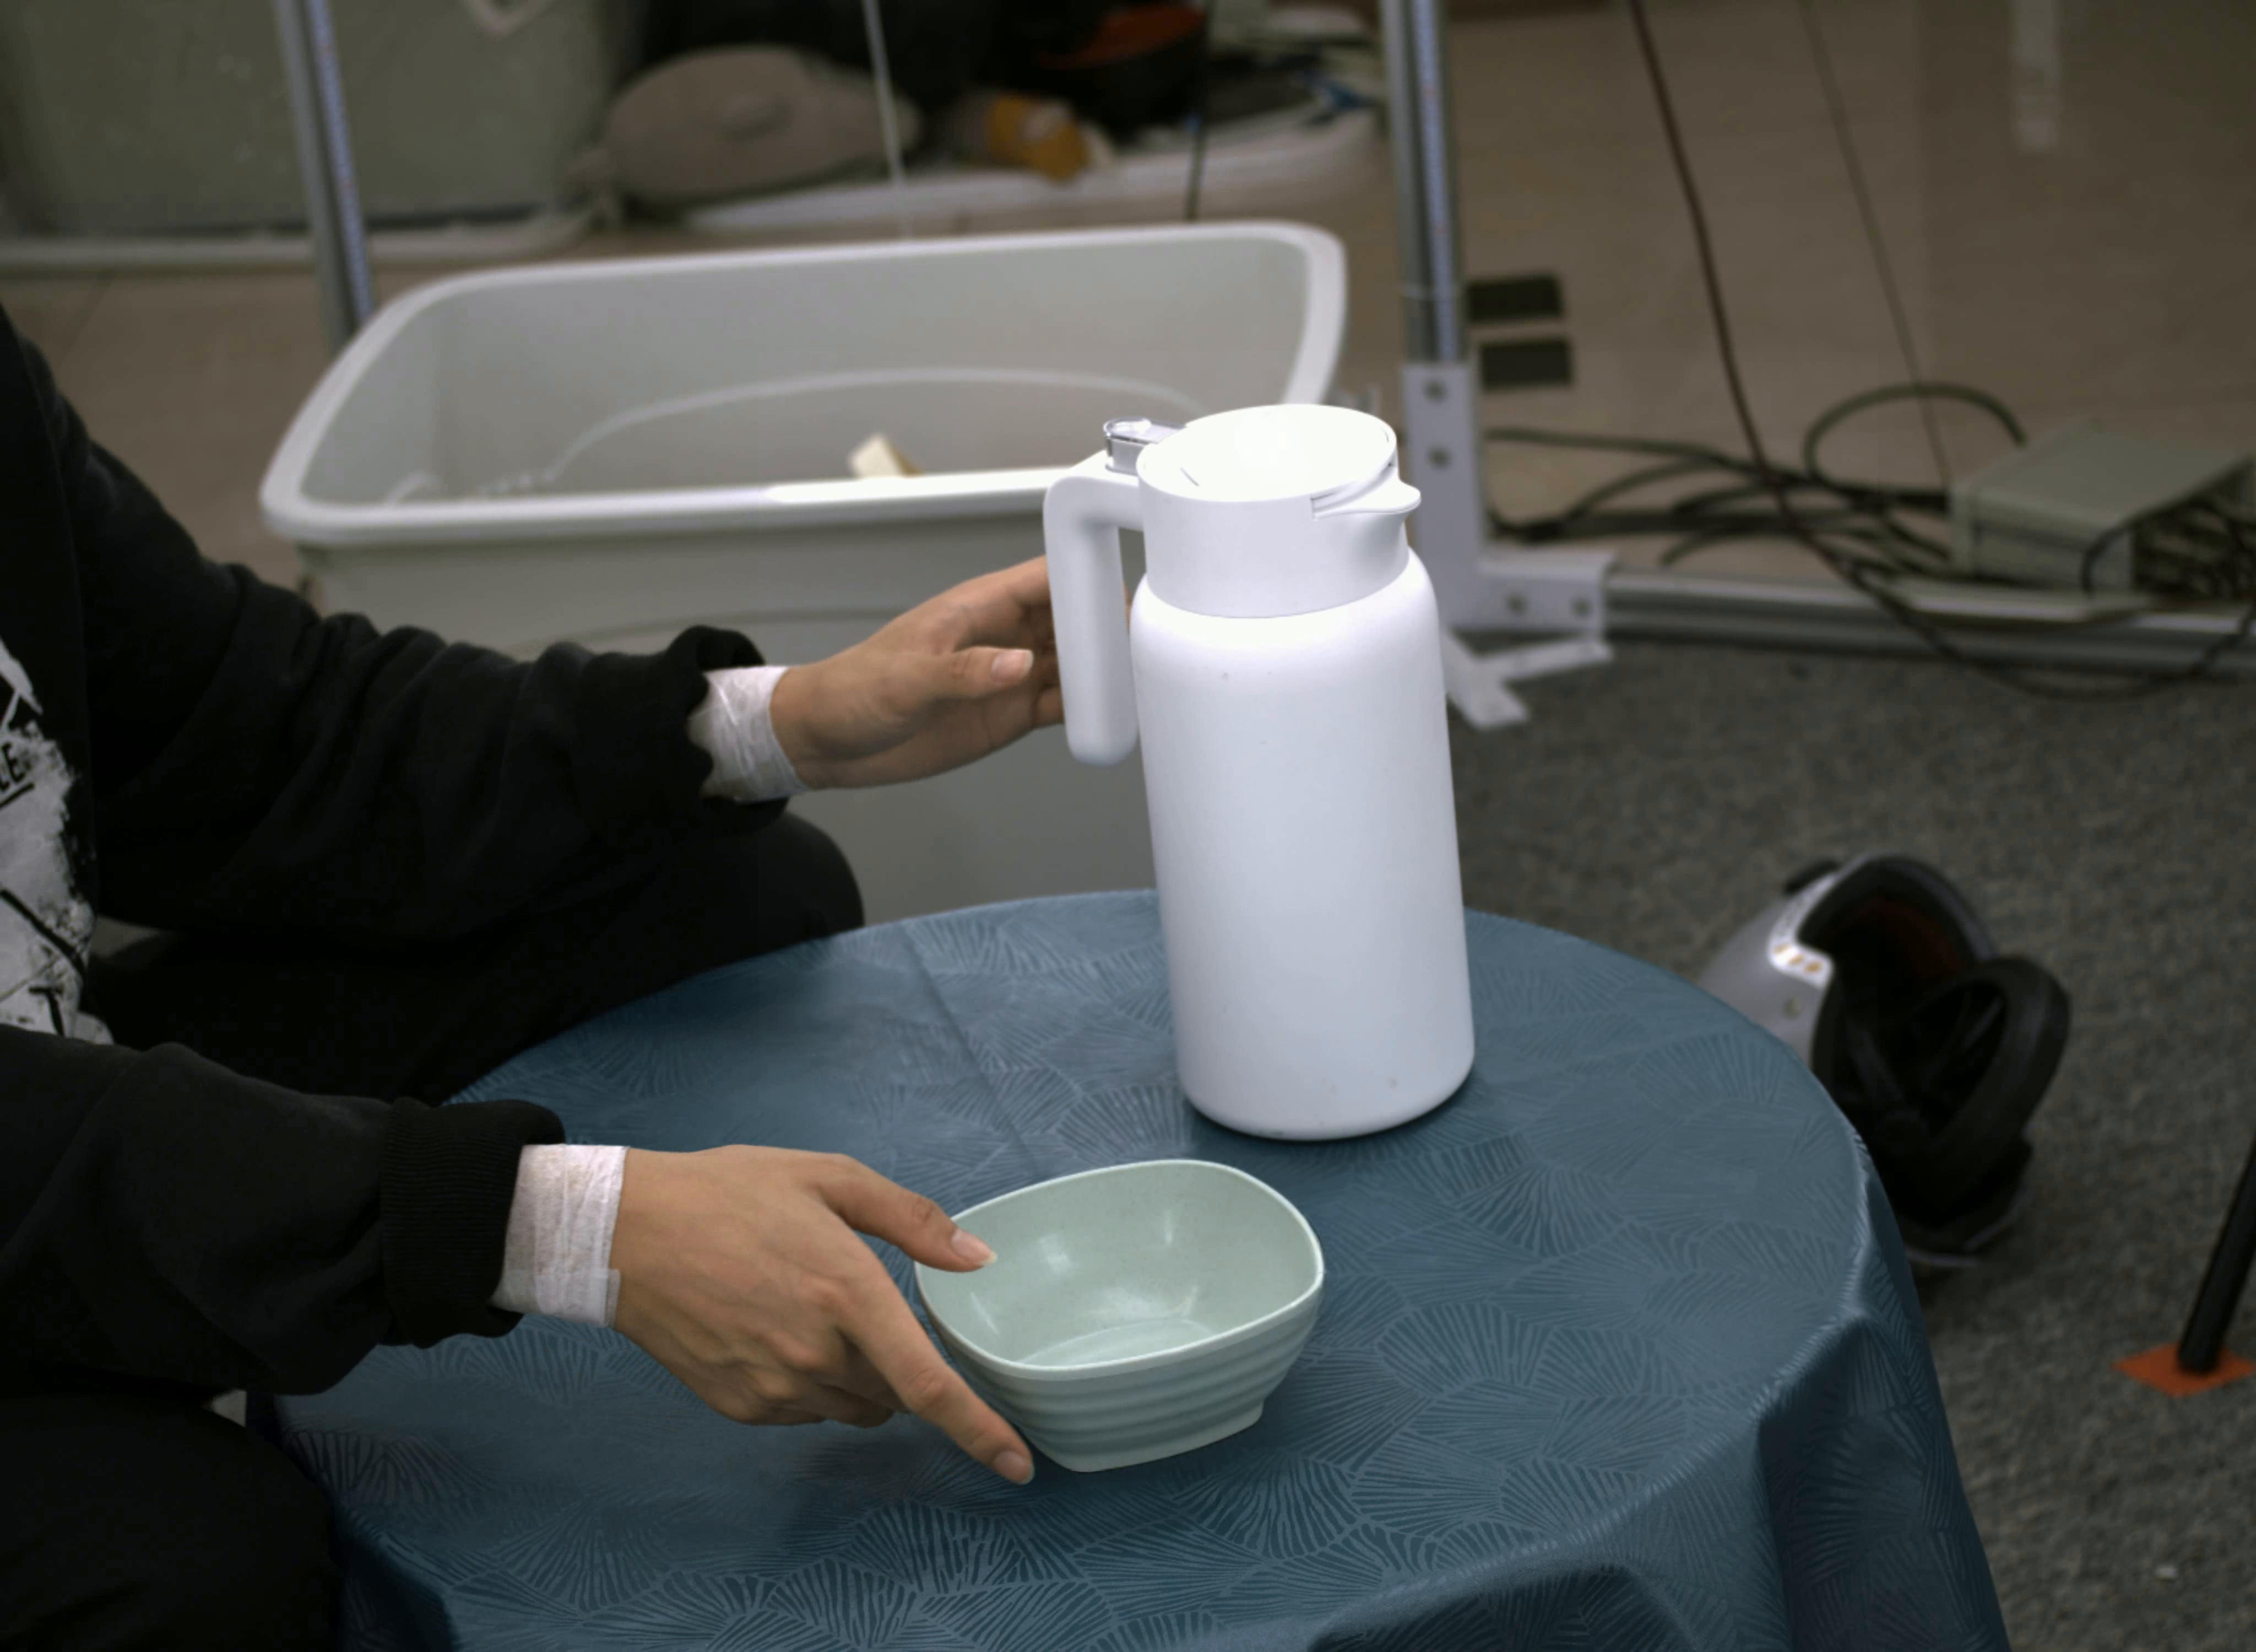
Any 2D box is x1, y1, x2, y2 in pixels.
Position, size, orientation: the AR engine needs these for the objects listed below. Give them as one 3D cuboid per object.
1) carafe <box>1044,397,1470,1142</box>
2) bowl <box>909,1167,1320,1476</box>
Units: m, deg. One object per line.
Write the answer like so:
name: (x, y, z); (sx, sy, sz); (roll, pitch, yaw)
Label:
carafe: (0.050, -0.023, 2.165); (0.172, 0.273, 0.122); (14, 34, 35)
bowl: (-0.003, 0.180, 1.999); (0.151, 0.059, 0.149); (-5, 25, 2)
